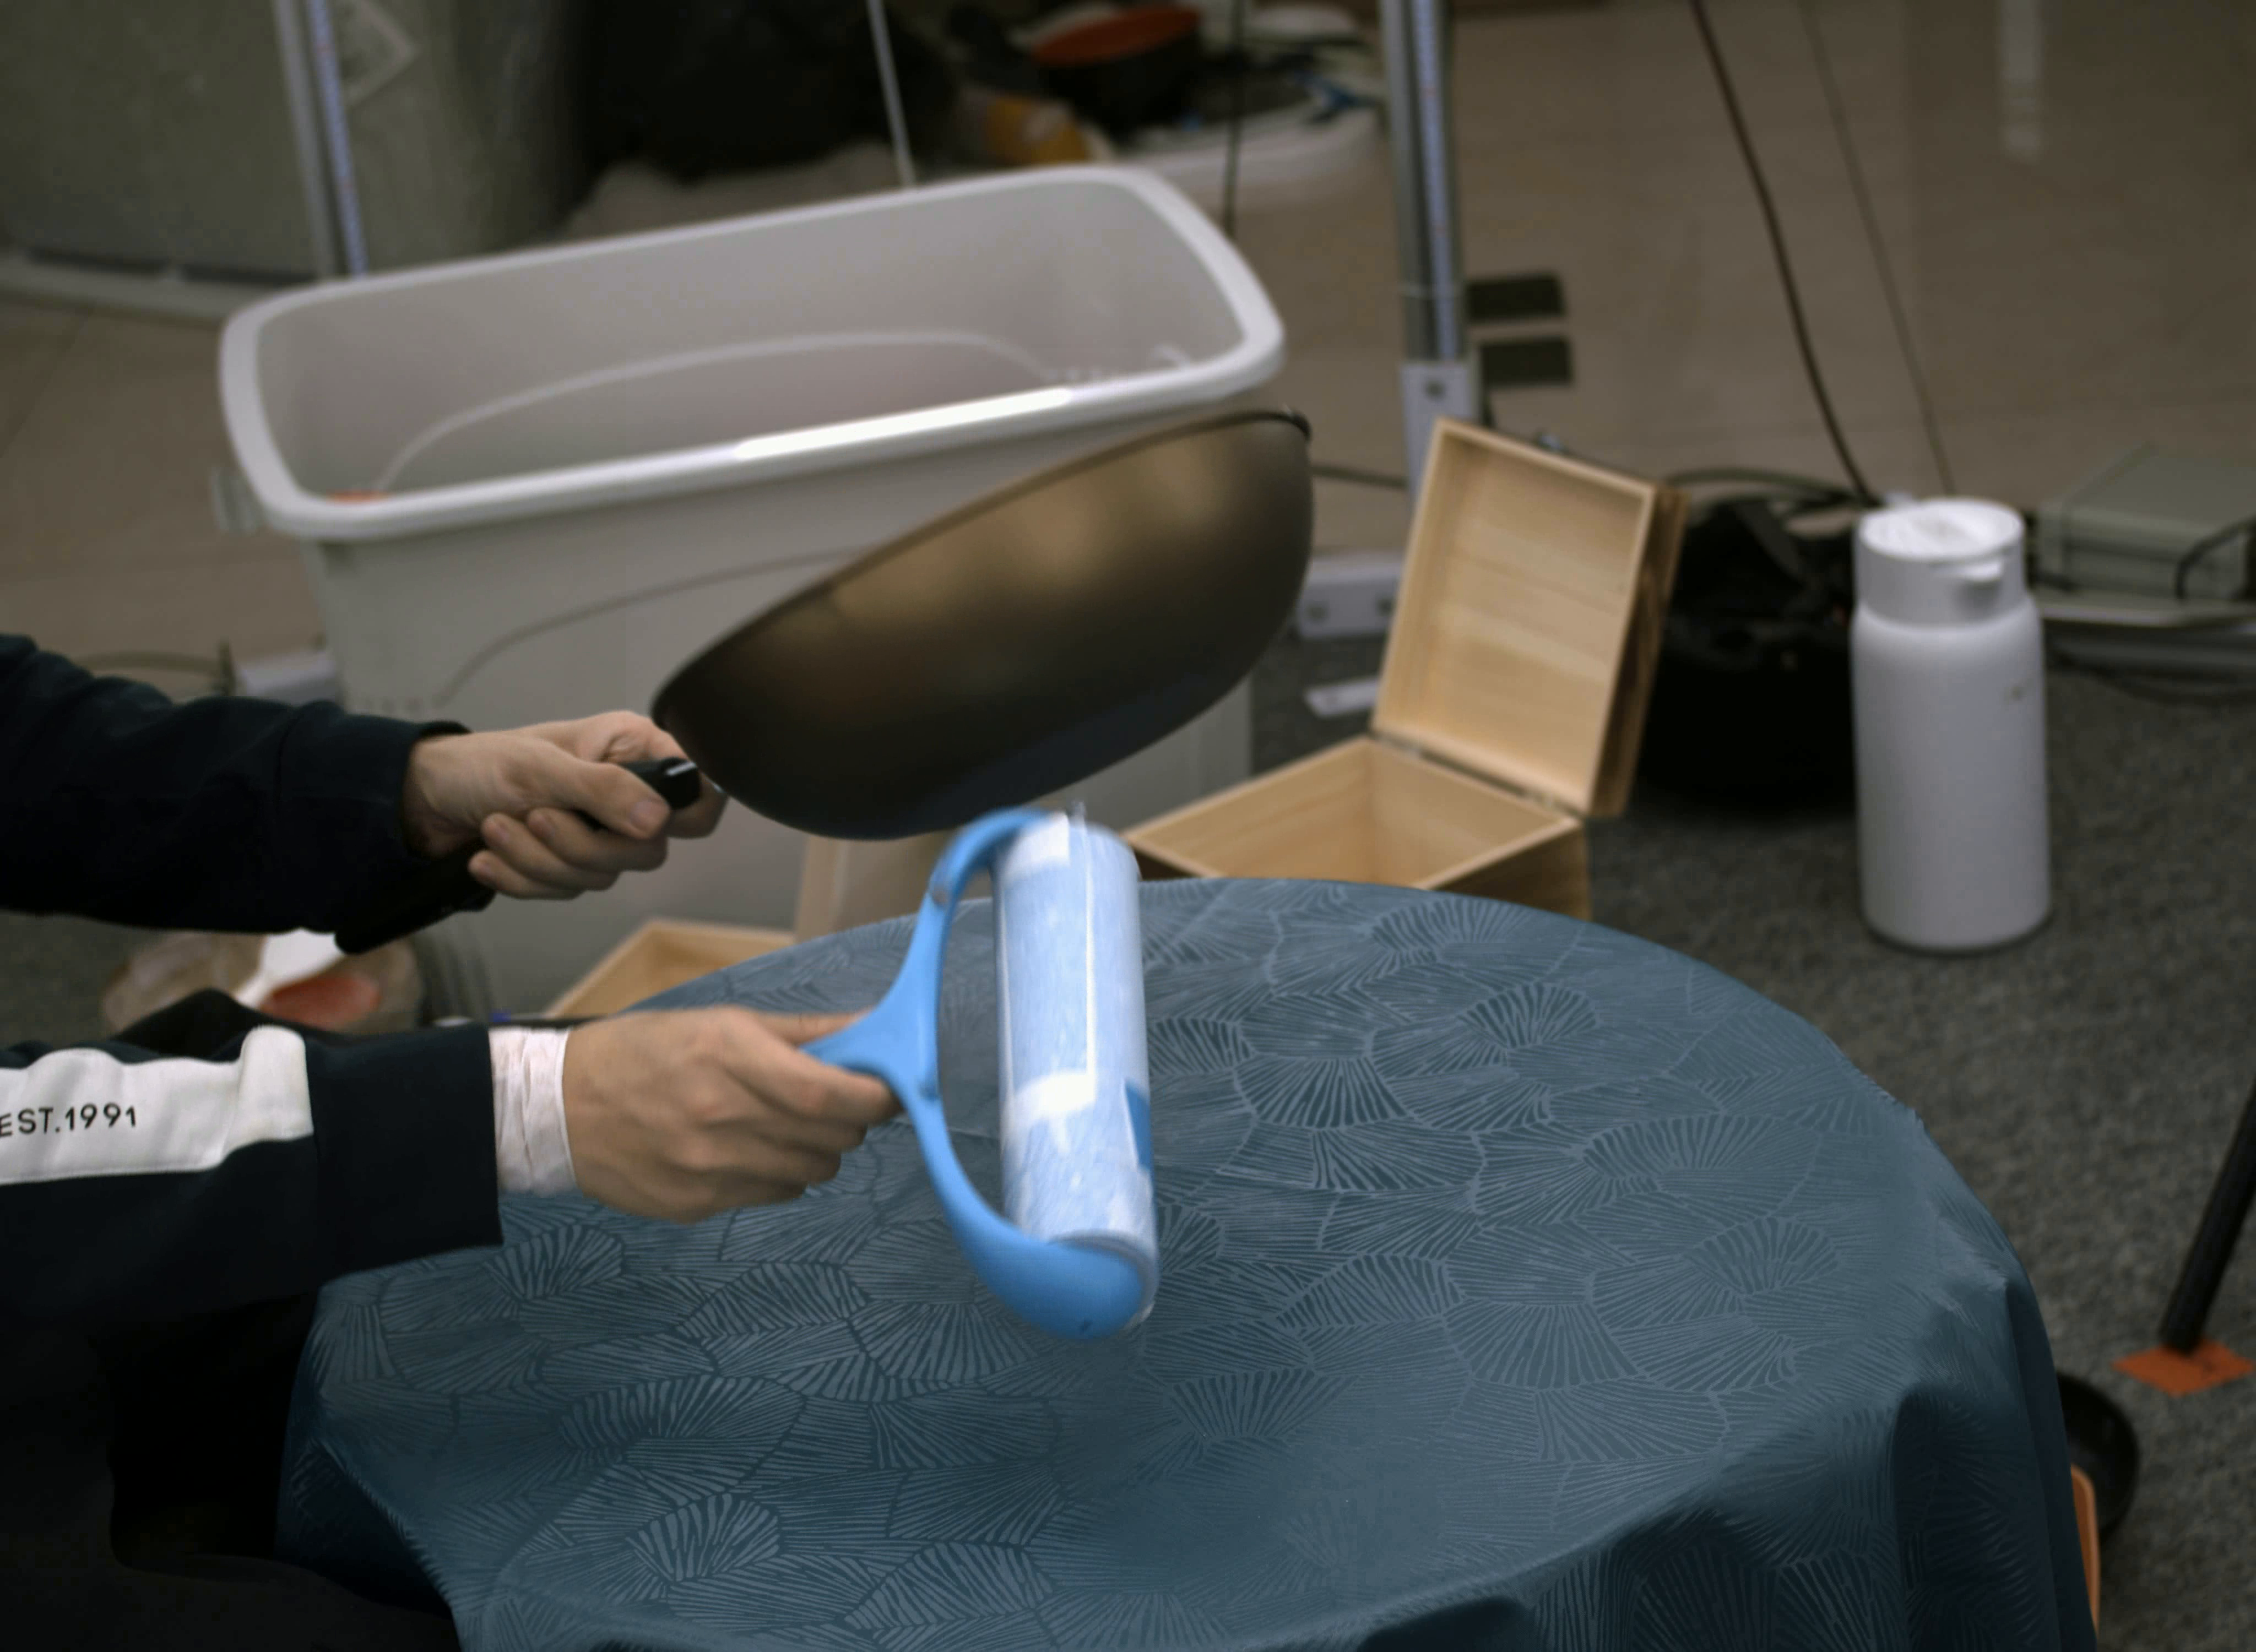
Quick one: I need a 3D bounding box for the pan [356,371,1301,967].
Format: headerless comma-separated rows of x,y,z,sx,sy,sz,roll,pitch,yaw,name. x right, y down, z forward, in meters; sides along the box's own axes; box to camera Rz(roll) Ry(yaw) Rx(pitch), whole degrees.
-0.117,-0.026,2.196,0.466,0.086,0.287,-31,-11,24,pan

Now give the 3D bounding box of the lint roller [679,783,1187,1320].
-0.075,0.088,2.001,0.180,0.069,0.225,-11,52,1,lint roller
